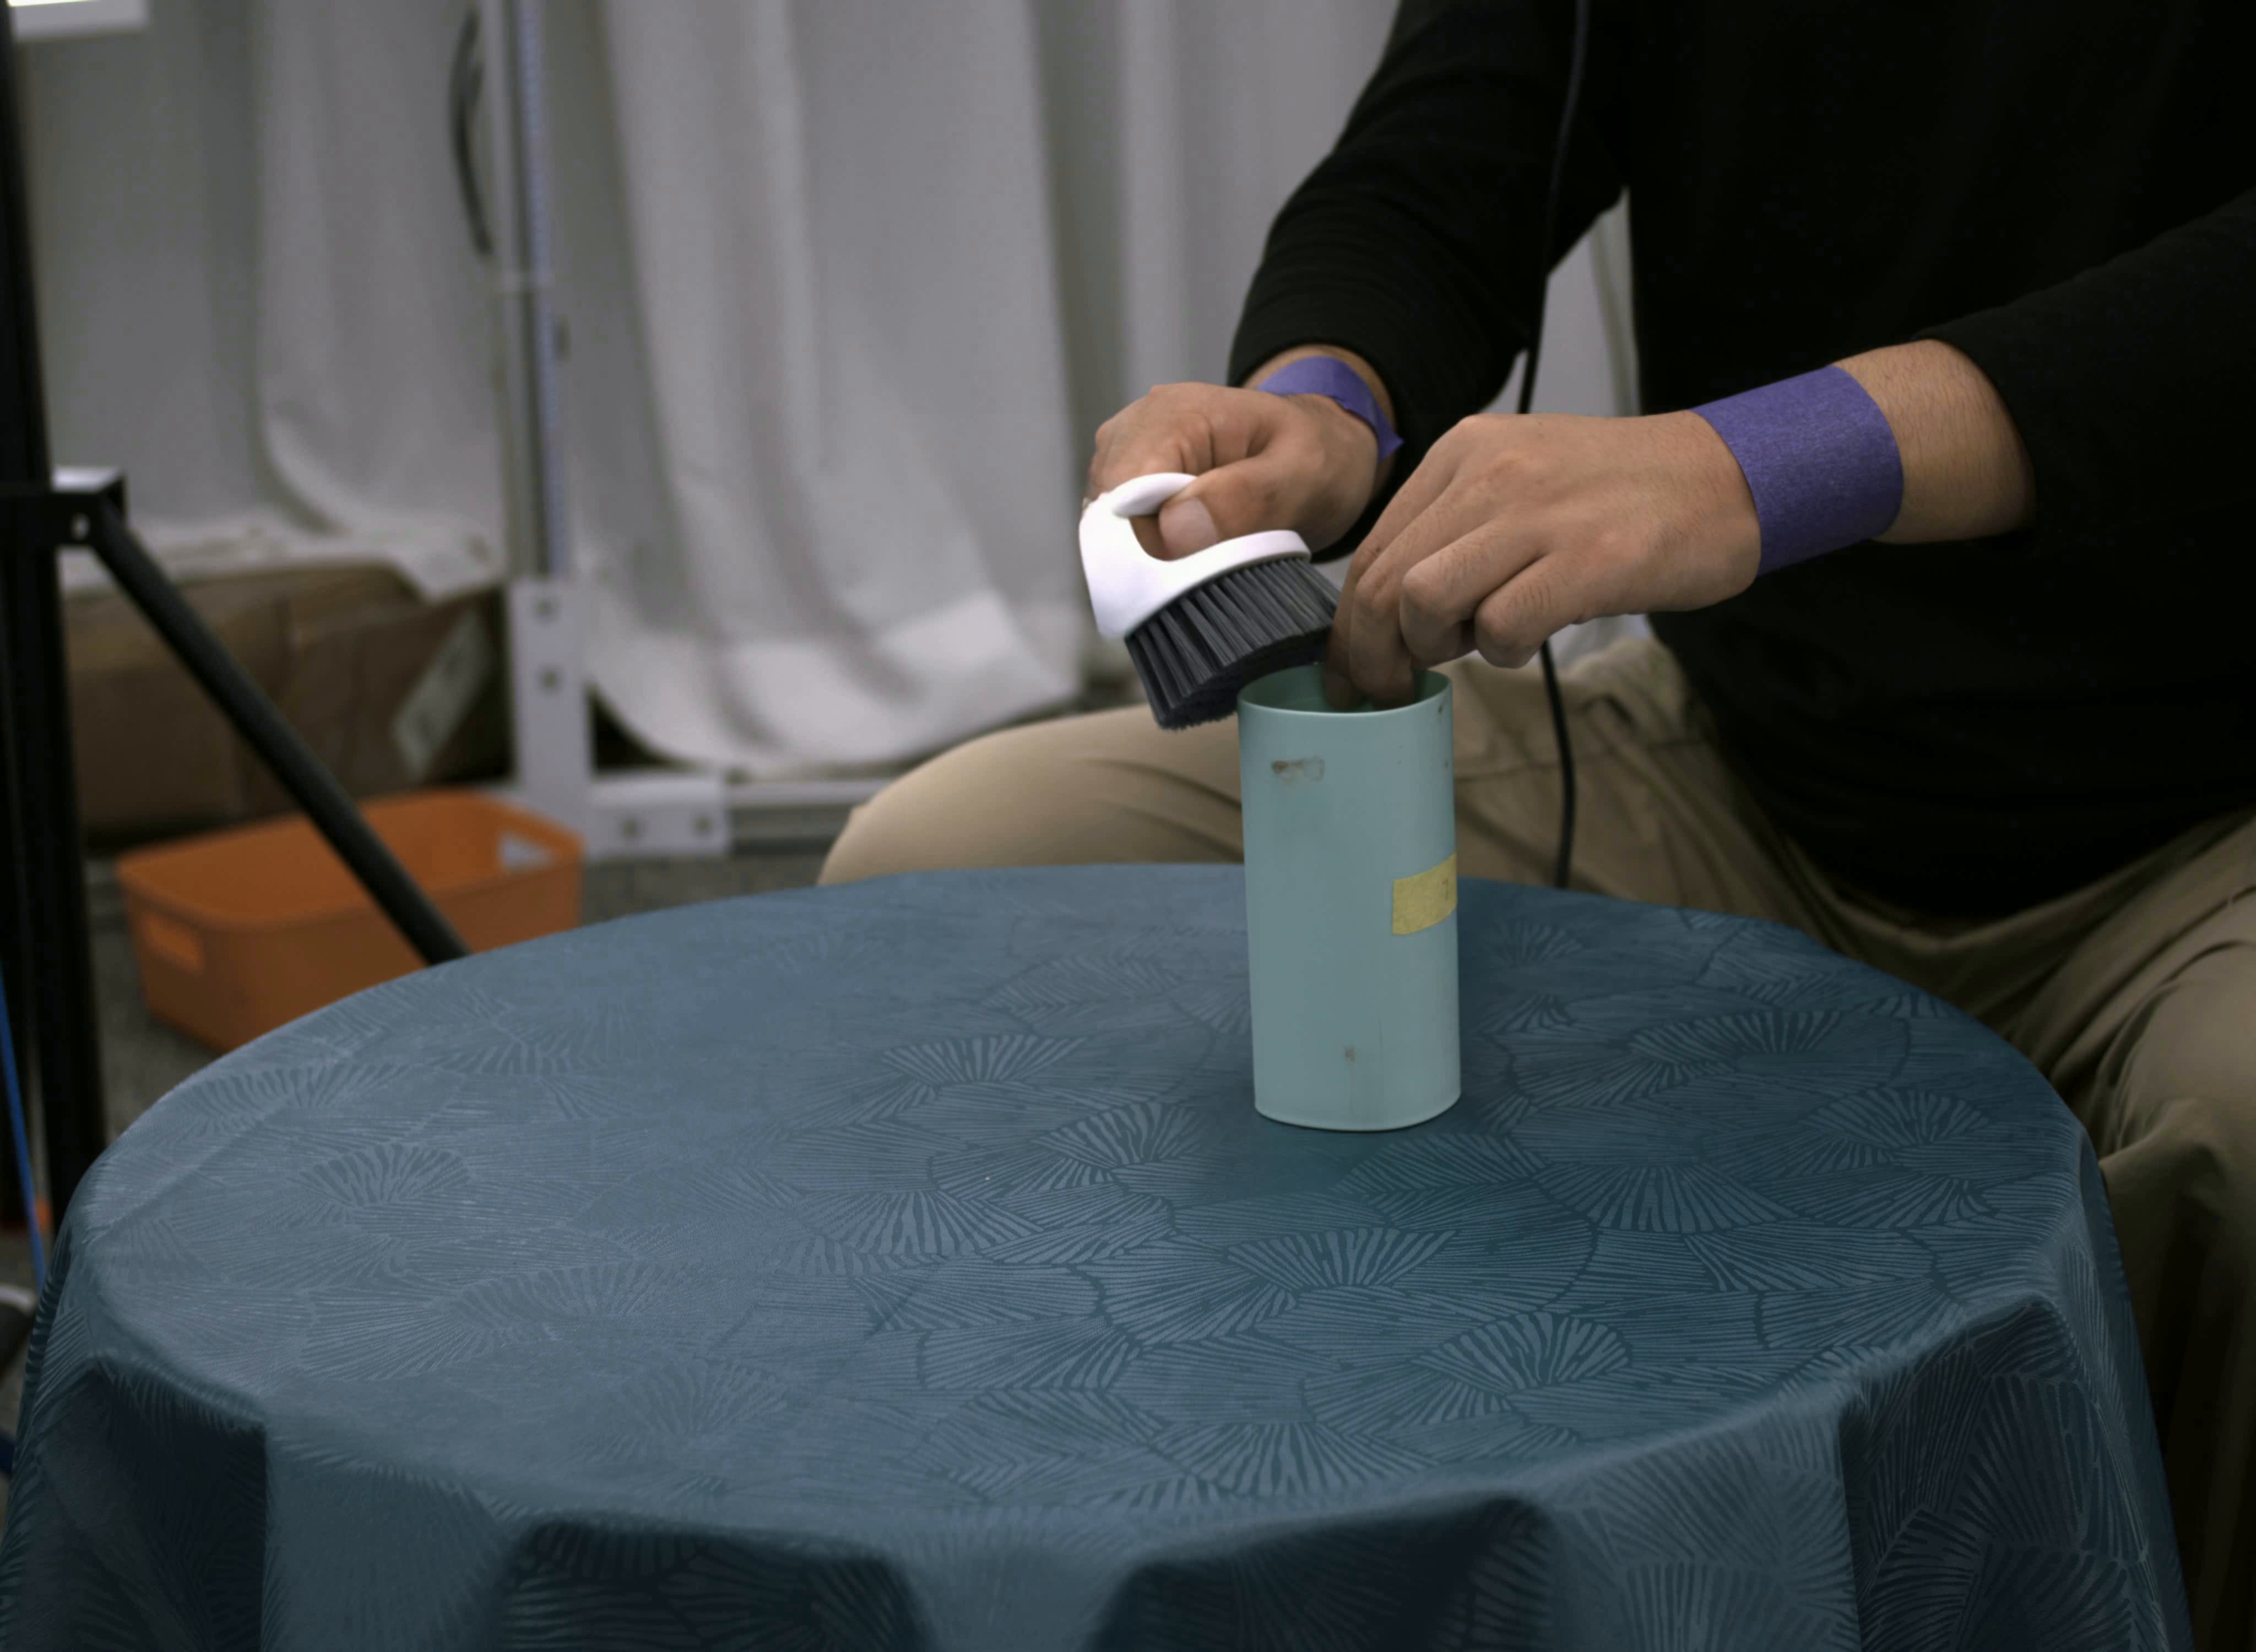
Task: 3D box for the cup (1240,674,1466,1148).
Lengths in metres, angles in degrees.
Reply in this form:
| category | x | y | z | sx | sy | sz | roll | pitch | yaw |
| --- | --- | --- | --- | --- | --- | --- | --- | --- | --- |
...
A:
| category | x | y | z | sx | sy | sz | roll | pitch | yaw |
| --- | --- | --- | --- | --- | --- | --- | --- | --- | --- |
| cup | 0.068 | 0.025 | 1.614 | 0.066 | 0.132 | 0.067 | -3 | 15 | -1 |

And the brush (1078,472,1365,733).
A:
| category | x | y | z | sx | sy | sz | roll | pitch | yaw |
| --- | --- | --- | --- | --- | --- | --- | --- | --- | --- |
| brush | 0.022 | -0.075 | 1.626 | 0.051 | 0.073 | 0.097 | -41 | -12 | 30 |
